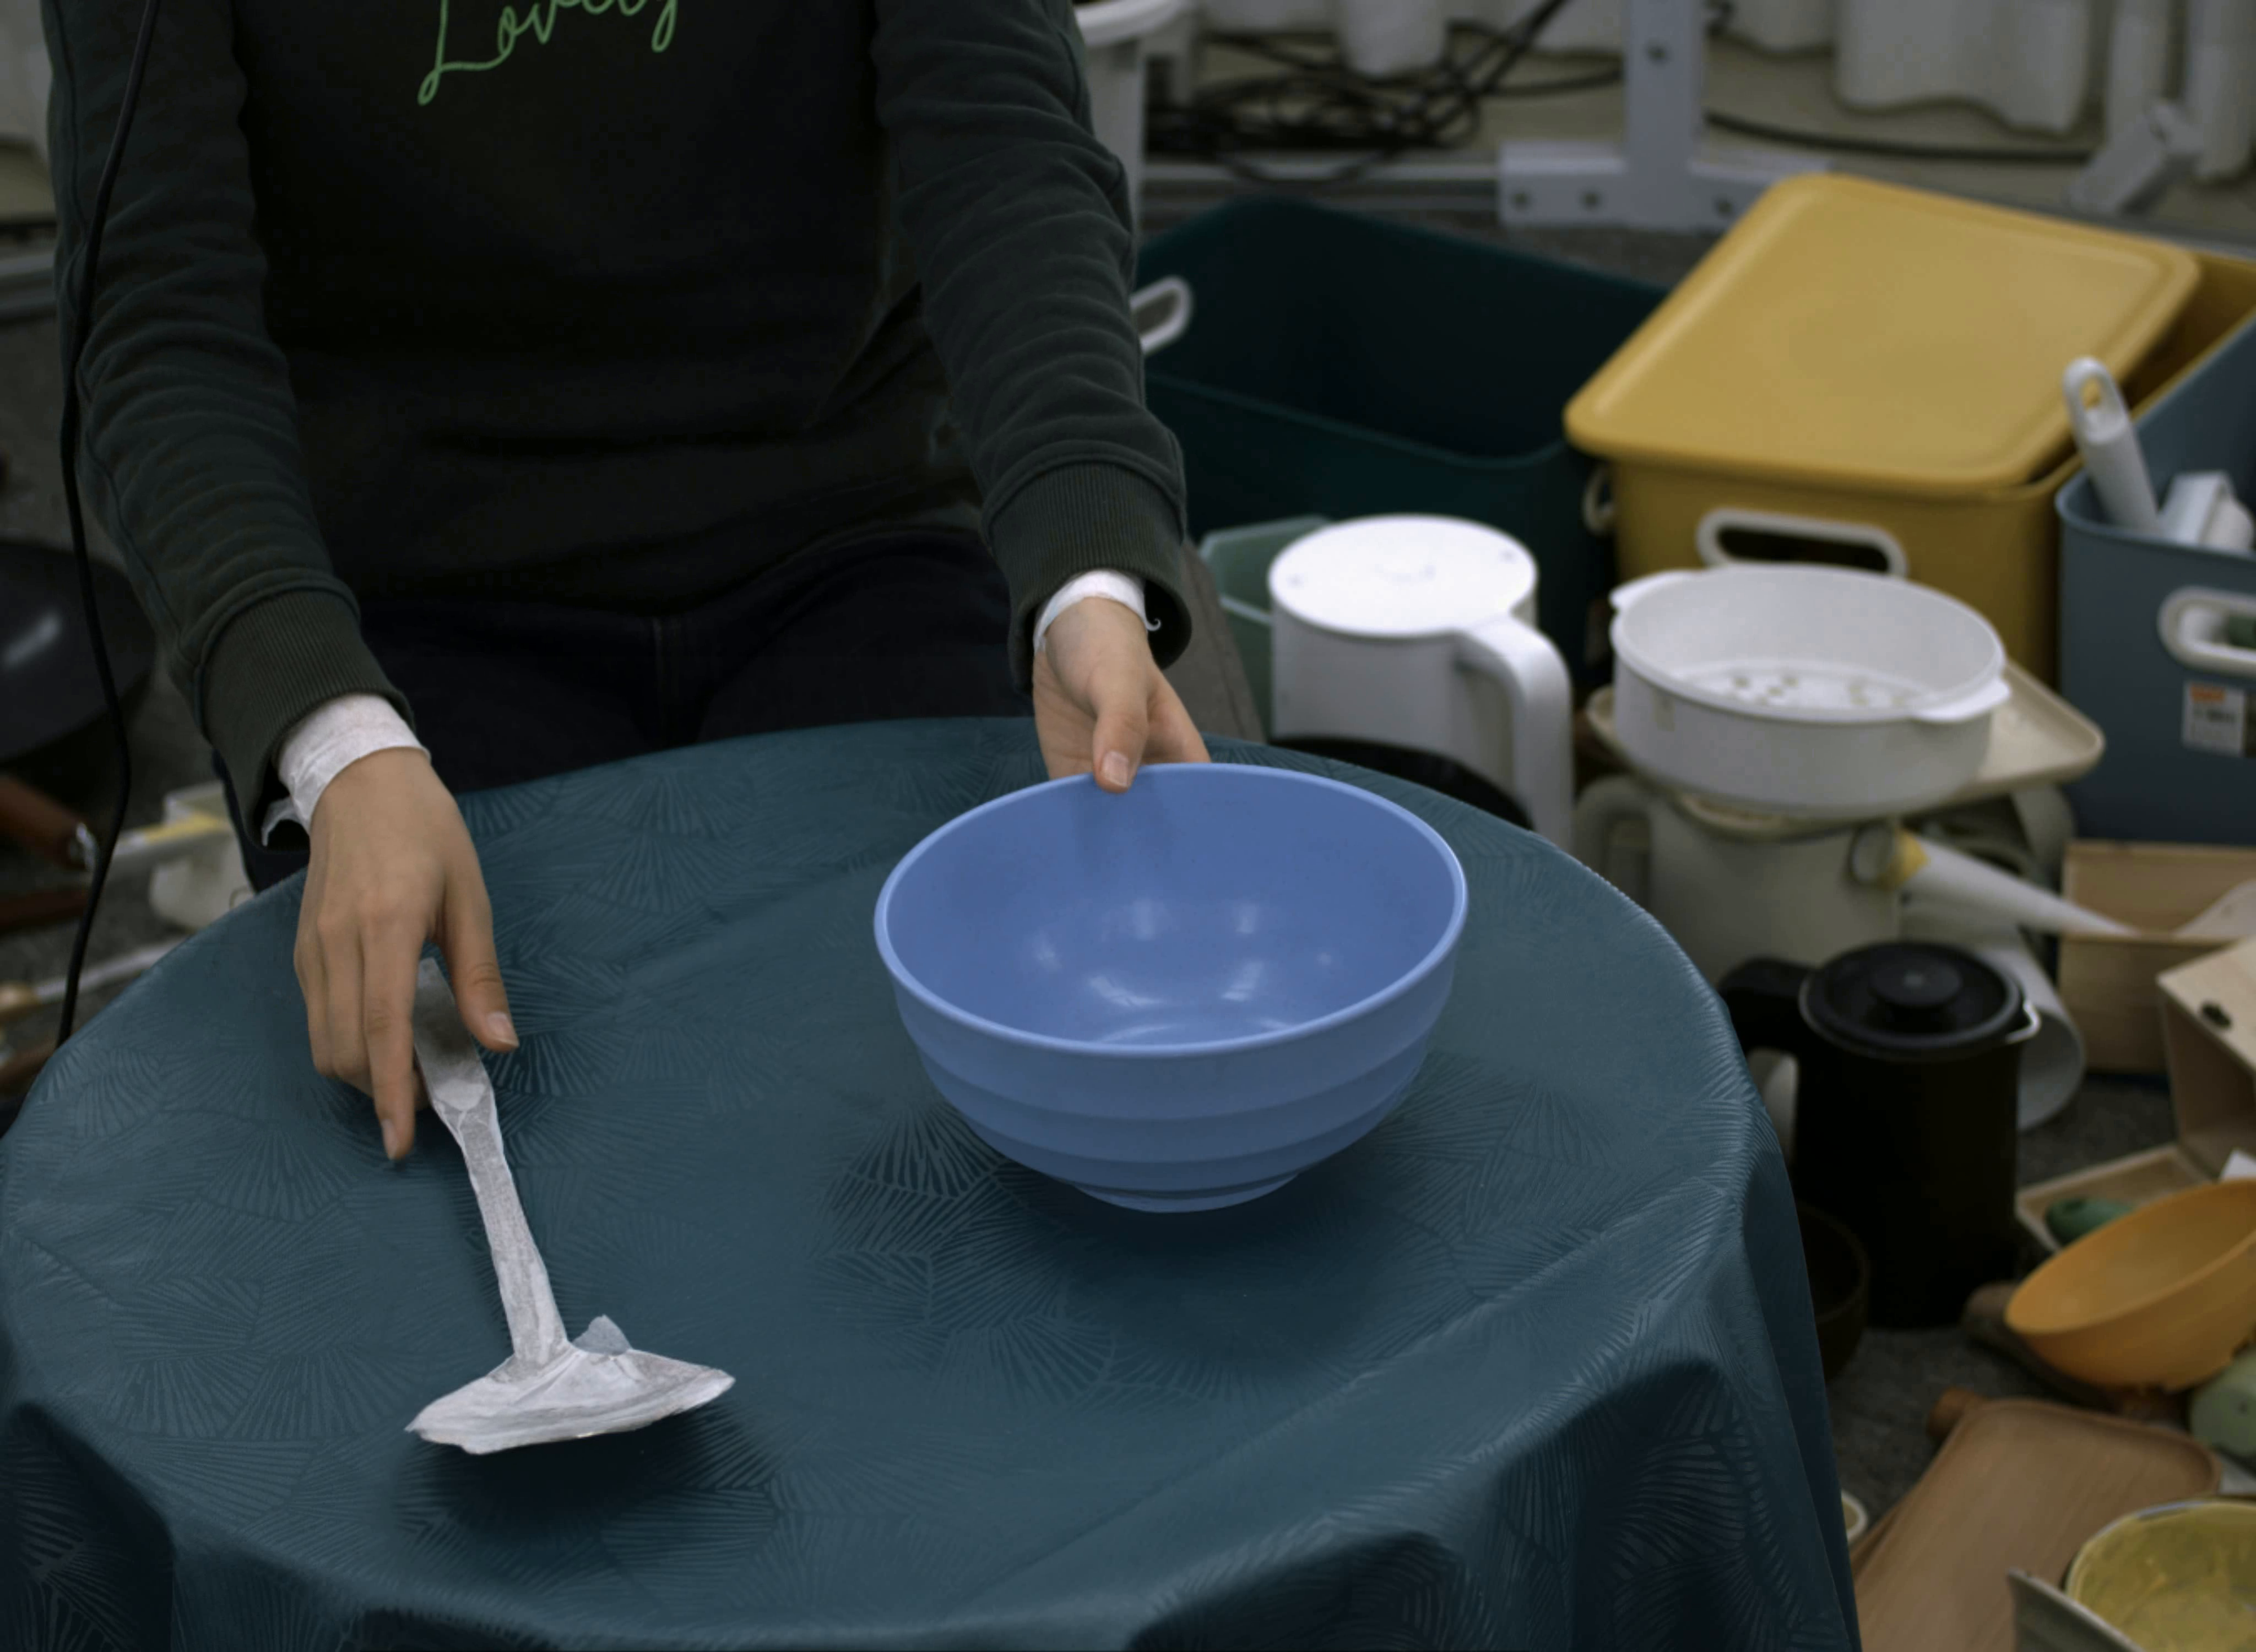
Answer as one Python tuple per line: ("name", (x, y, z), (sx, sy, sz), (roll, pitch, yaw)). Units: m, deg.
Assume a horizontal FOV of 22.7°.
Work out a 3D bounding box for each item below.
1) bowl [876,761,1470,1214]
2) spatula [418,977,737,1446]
("bowl", (0.018, 0.065, 1.867), (0.195, 0.094, 0.199), (-3, 28, 2))
("spatula", (-0.204, 0.119, 1.846), (0.098, 0.044, 0.369), (-10, 28, -11))
